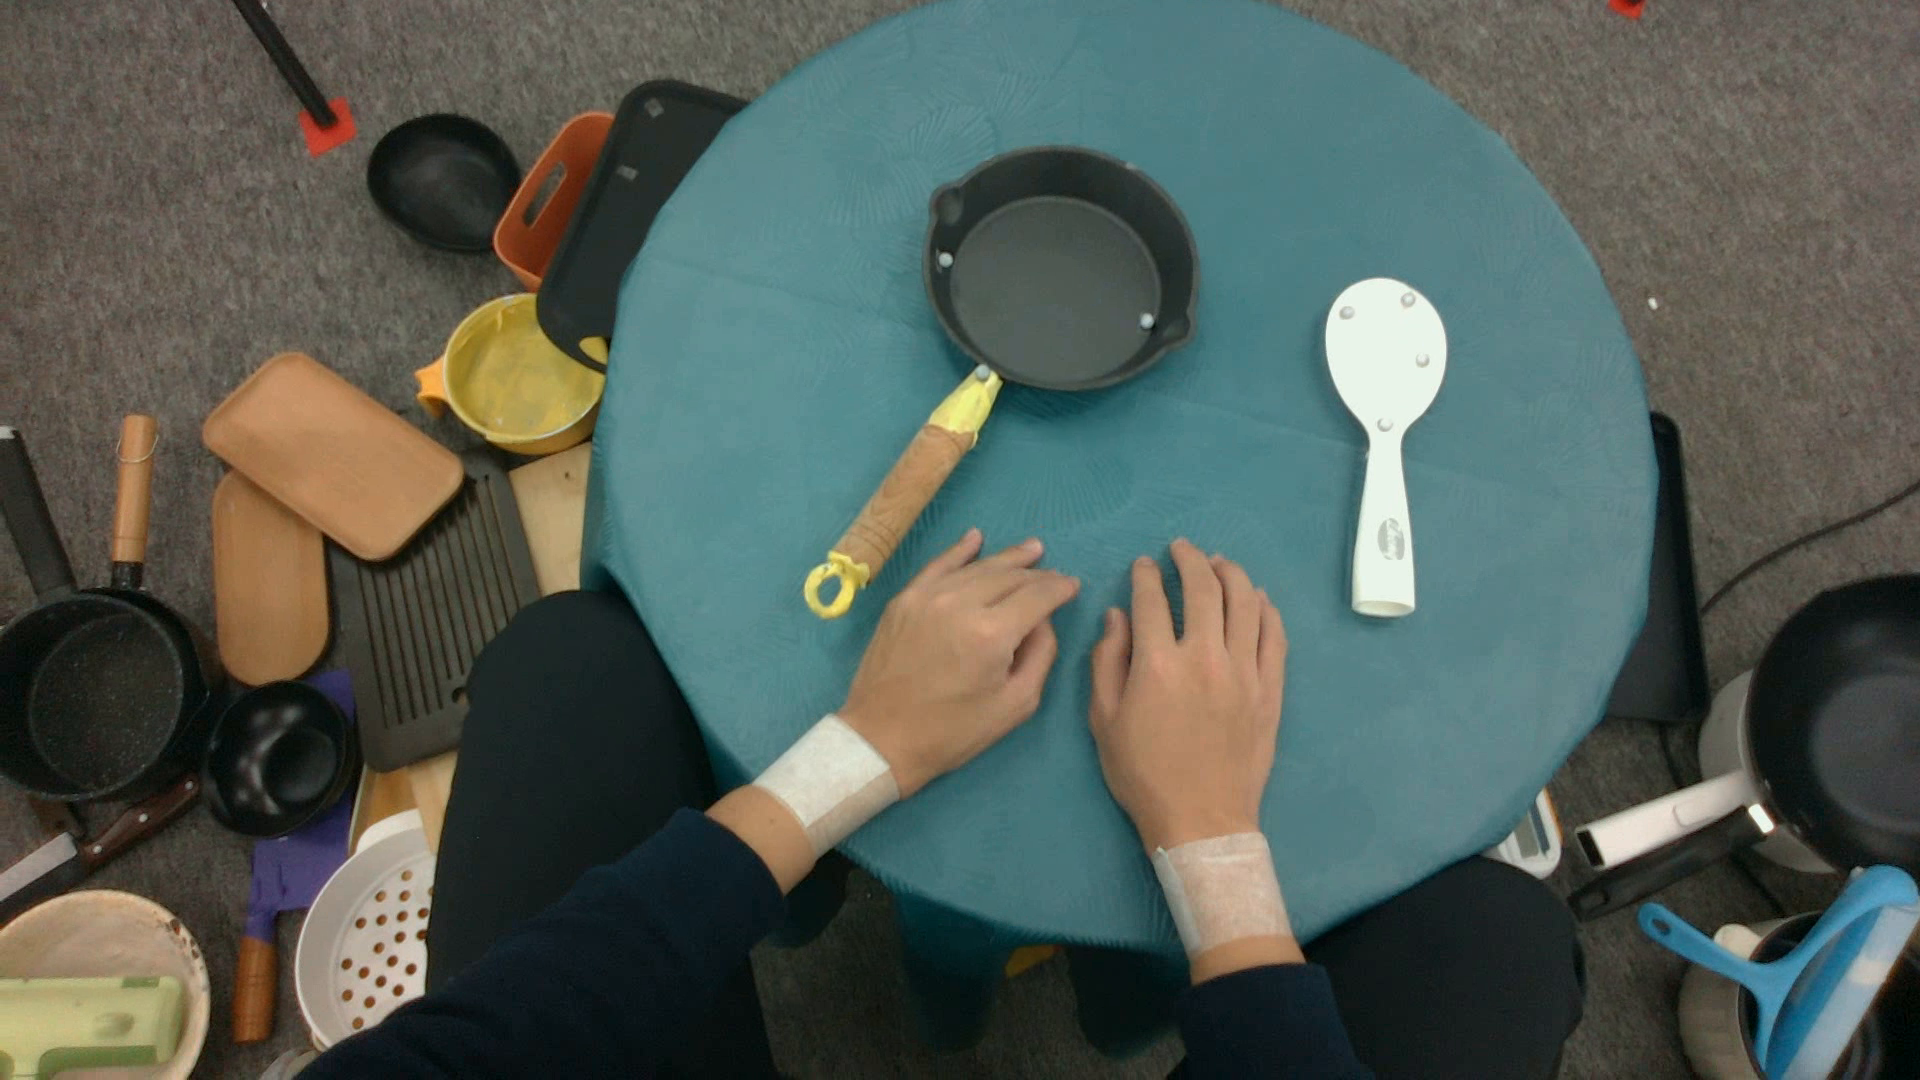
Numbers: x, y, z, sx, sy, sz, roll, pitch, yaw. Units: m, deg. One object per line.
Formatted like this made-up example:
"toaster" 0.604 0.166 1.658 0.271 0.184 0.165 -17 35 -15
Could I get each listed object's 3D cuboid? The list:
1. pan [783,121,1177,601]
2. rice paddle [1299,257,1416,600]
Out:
"pan" -0.001 -0.098 0.753 0.169 0.049 0.325 32 71 6
"rice paddle" 0.223 -0.069 0.770 0.069 0.029 0.206 6 72 -4
